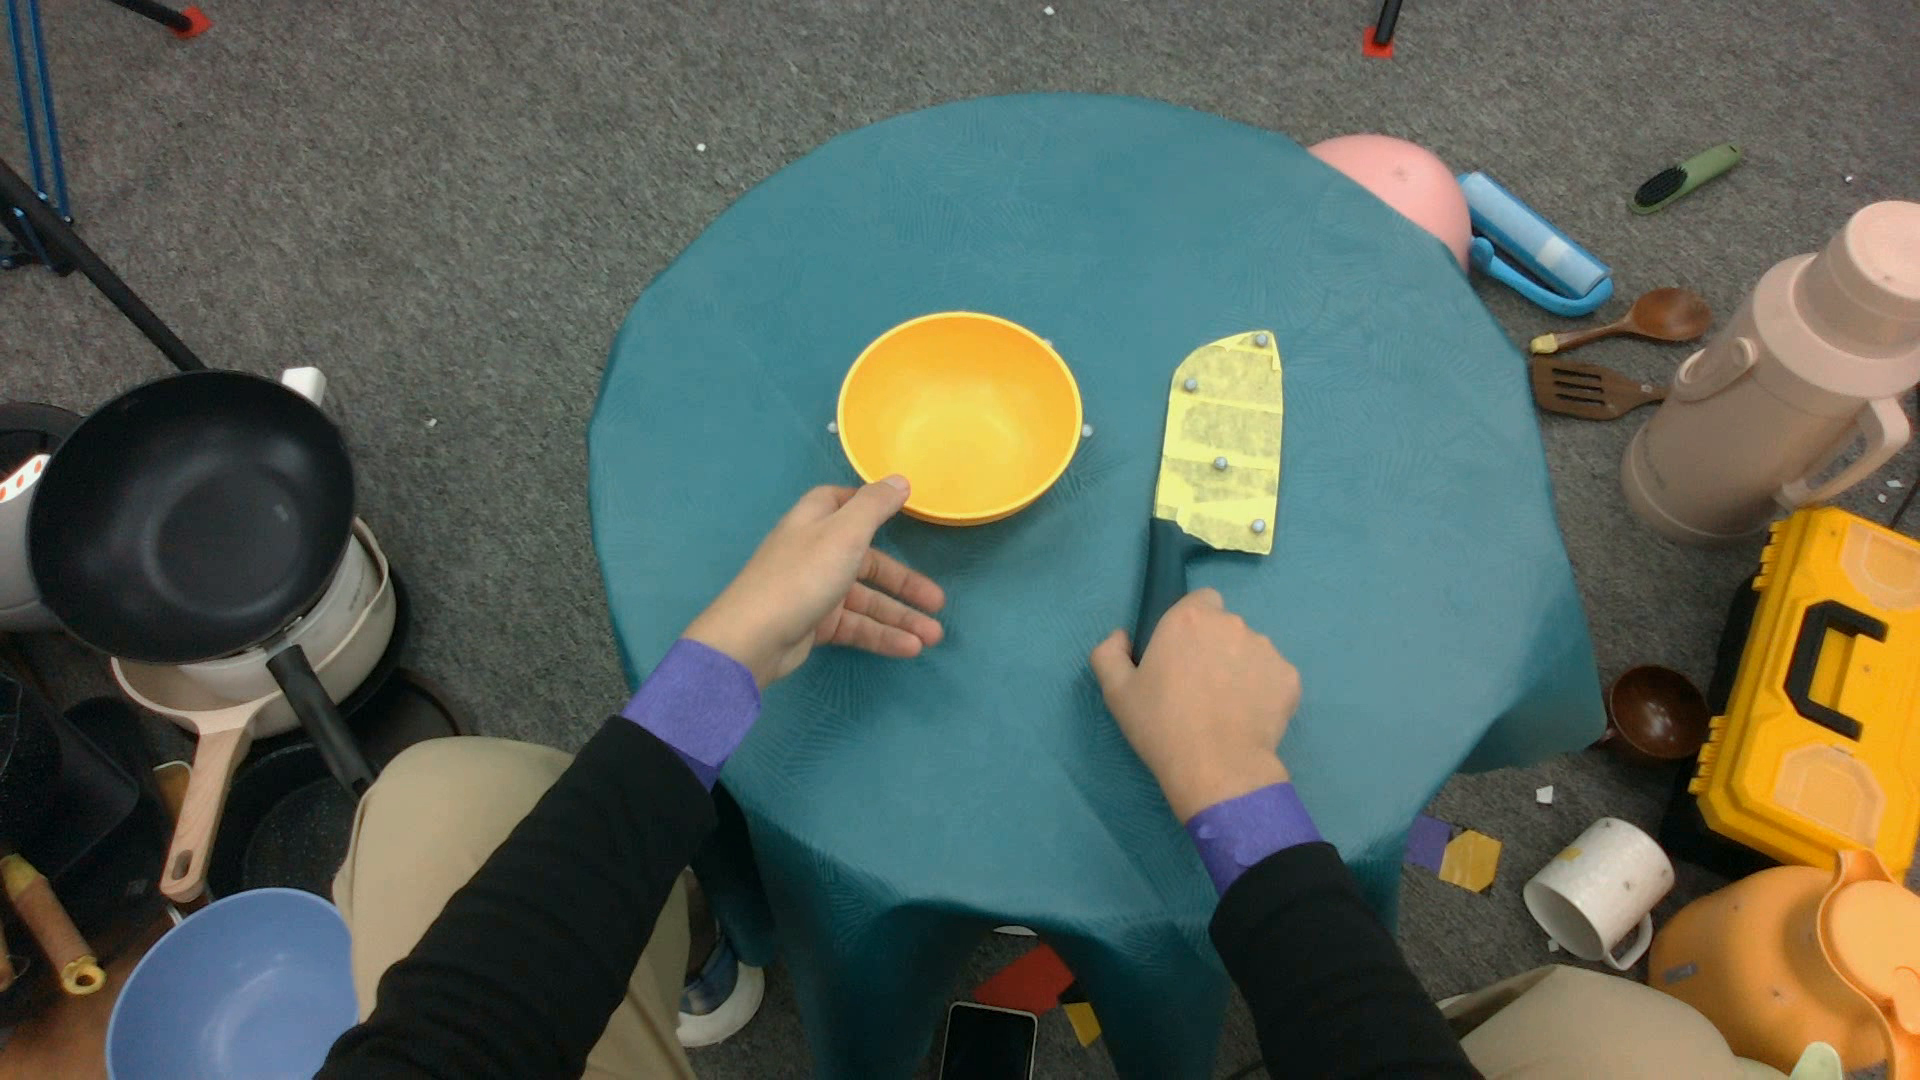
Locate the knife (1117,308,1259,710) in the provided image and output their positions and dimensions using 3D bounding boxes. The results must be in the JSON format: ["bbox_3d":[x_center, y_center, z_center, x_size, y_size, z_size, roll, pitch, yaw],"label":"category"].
[{"bbox_3d":[0.140,-0.028,0.839,0.081,0.027,0.291,10,62,7],"label":"knife"}]

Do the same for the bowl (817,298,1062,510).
[{"bbox_3d":[-0.011,-0.072,0.833,0.145,0.060,0.146,-1,62,1],"label":"bowl"}]
